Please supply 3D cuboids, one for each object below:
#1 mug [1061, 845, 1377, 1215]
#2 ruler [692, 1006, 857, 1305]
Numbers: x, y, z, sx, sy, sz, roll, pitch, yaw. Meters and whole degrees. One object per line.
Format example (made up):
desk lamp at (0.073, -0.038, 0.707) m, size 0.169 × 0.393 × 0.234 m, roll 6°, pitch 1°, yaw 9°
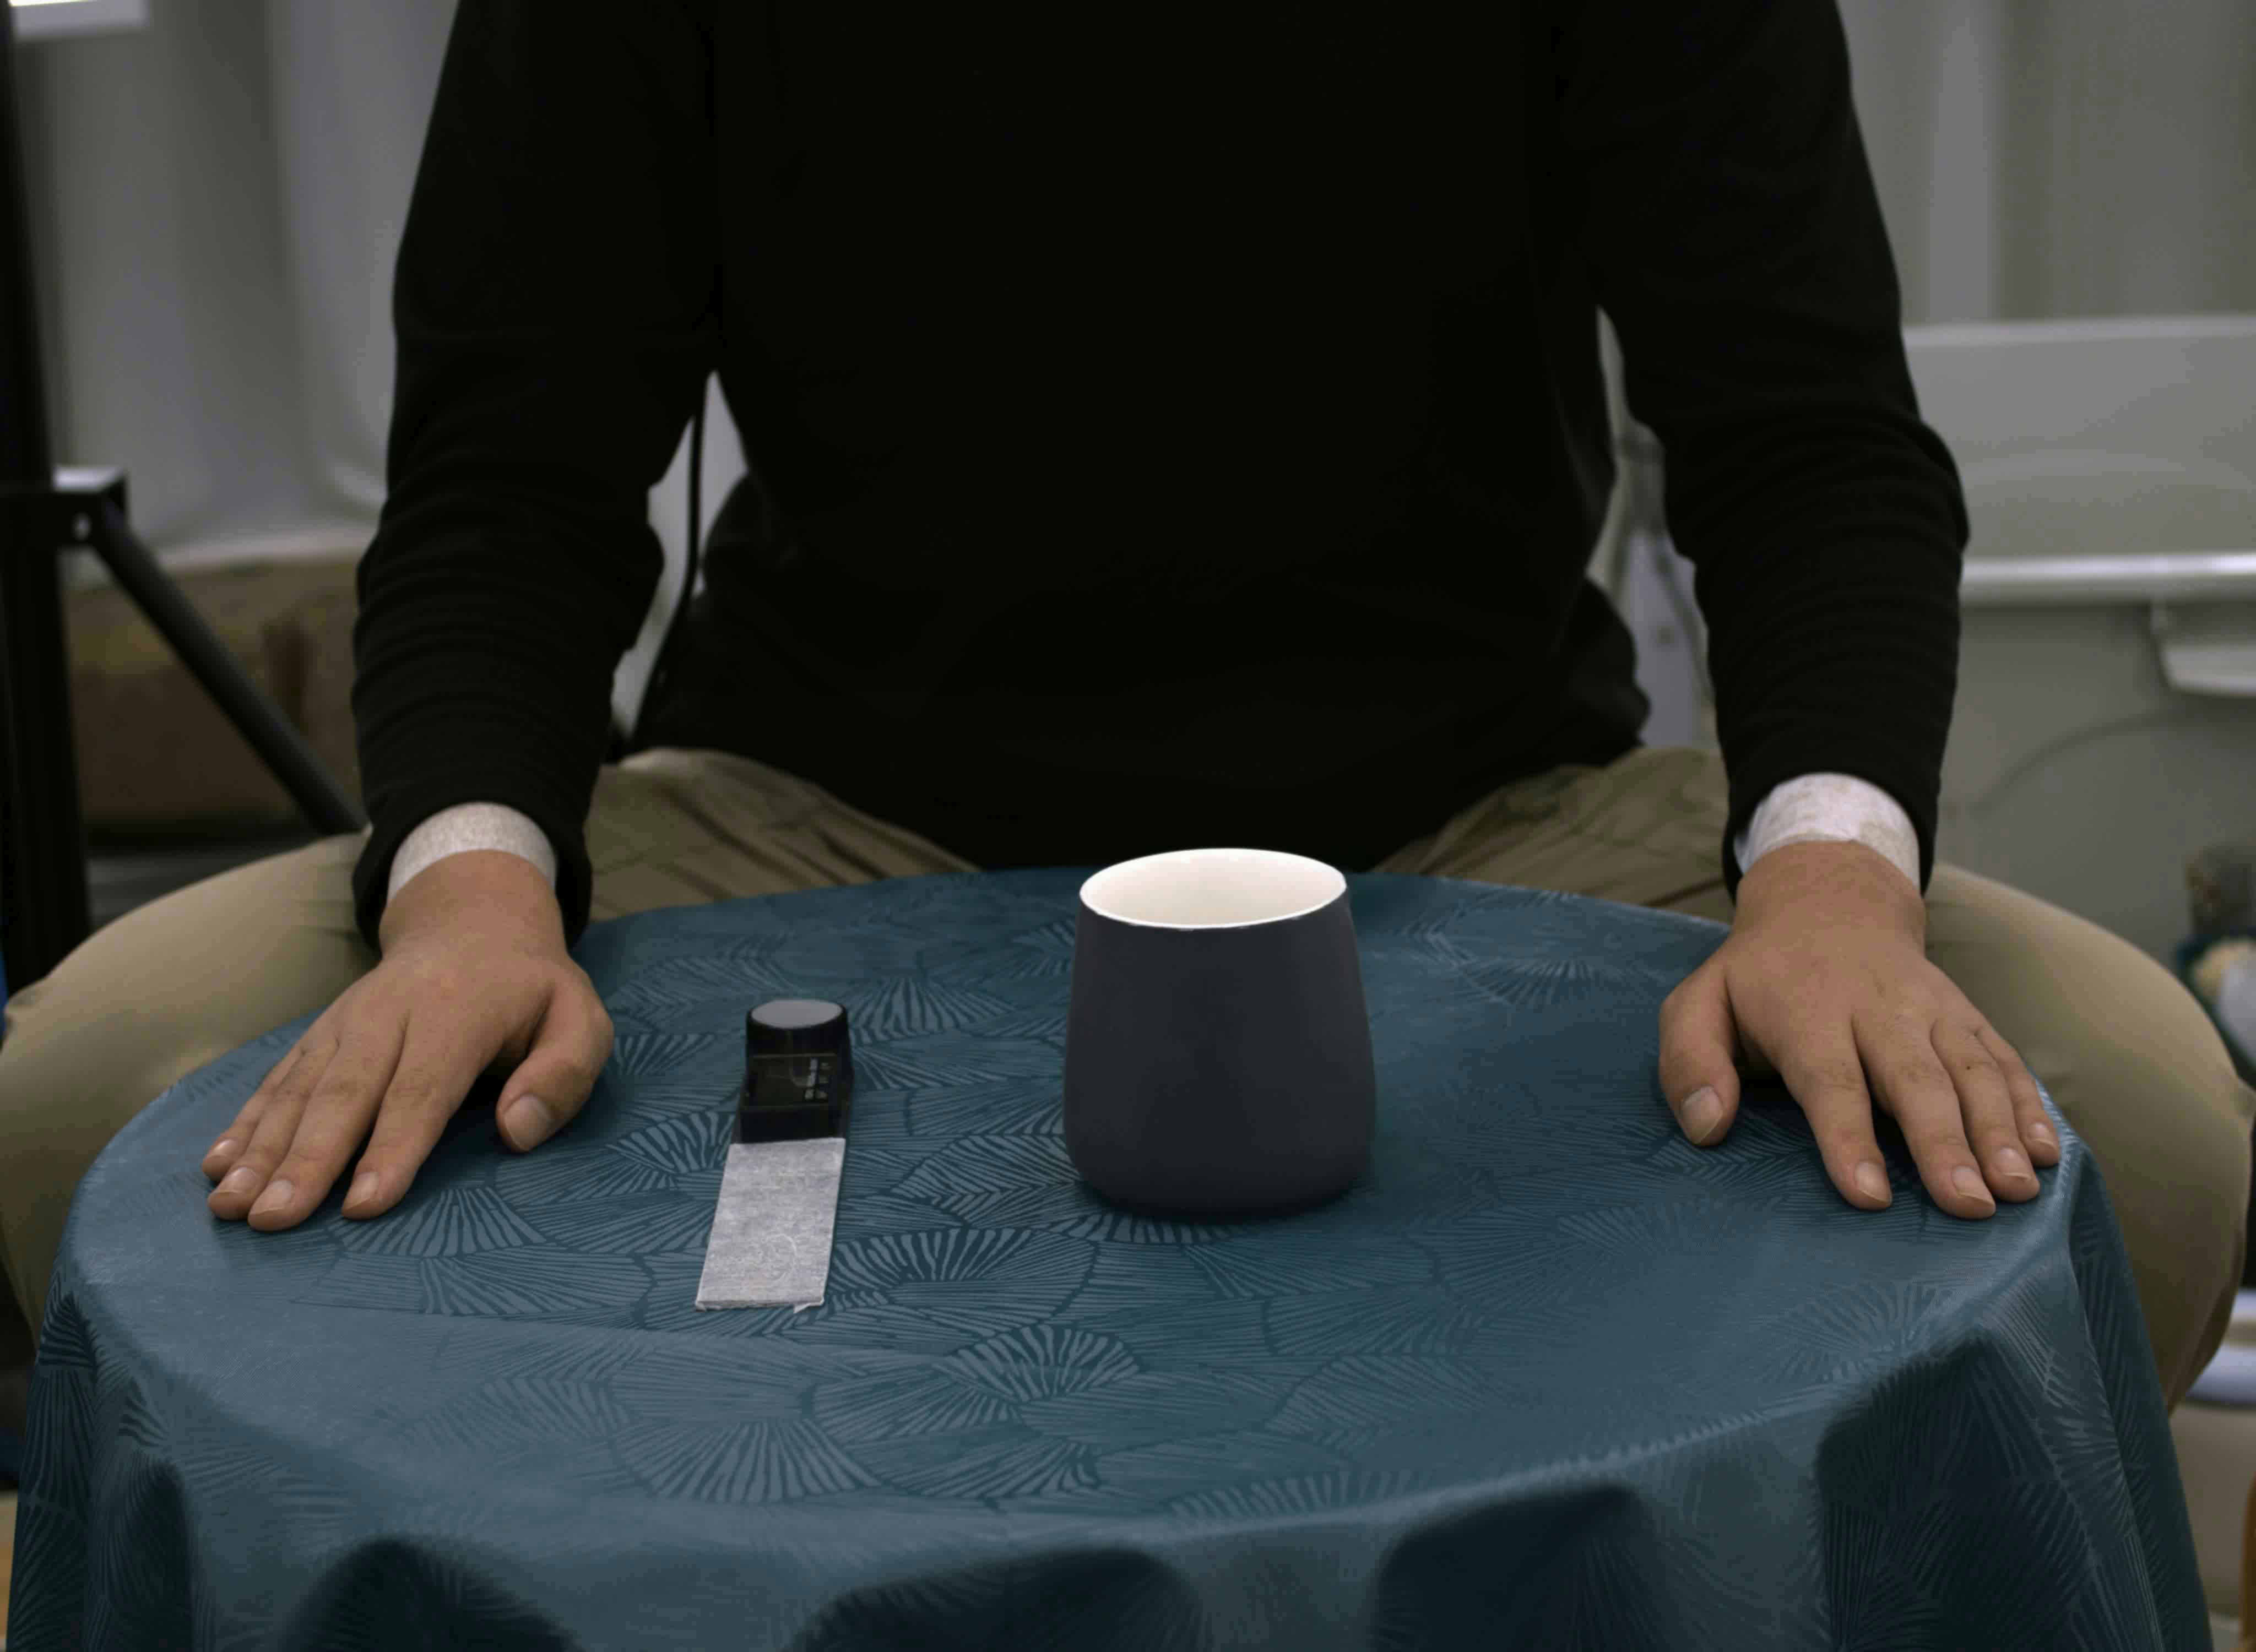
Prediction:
mug at (0.028, 0.055, 1.568) m, size 0.093 × 0.090 × 0.123 m, roll 0°, pitch 16°, yaw 5°
ruler at (-0.104, 0.095, 1.580) m, size 0.038 × 0.024 × 0.219 m, roll -9°, pitch 14°, yaw 2°
